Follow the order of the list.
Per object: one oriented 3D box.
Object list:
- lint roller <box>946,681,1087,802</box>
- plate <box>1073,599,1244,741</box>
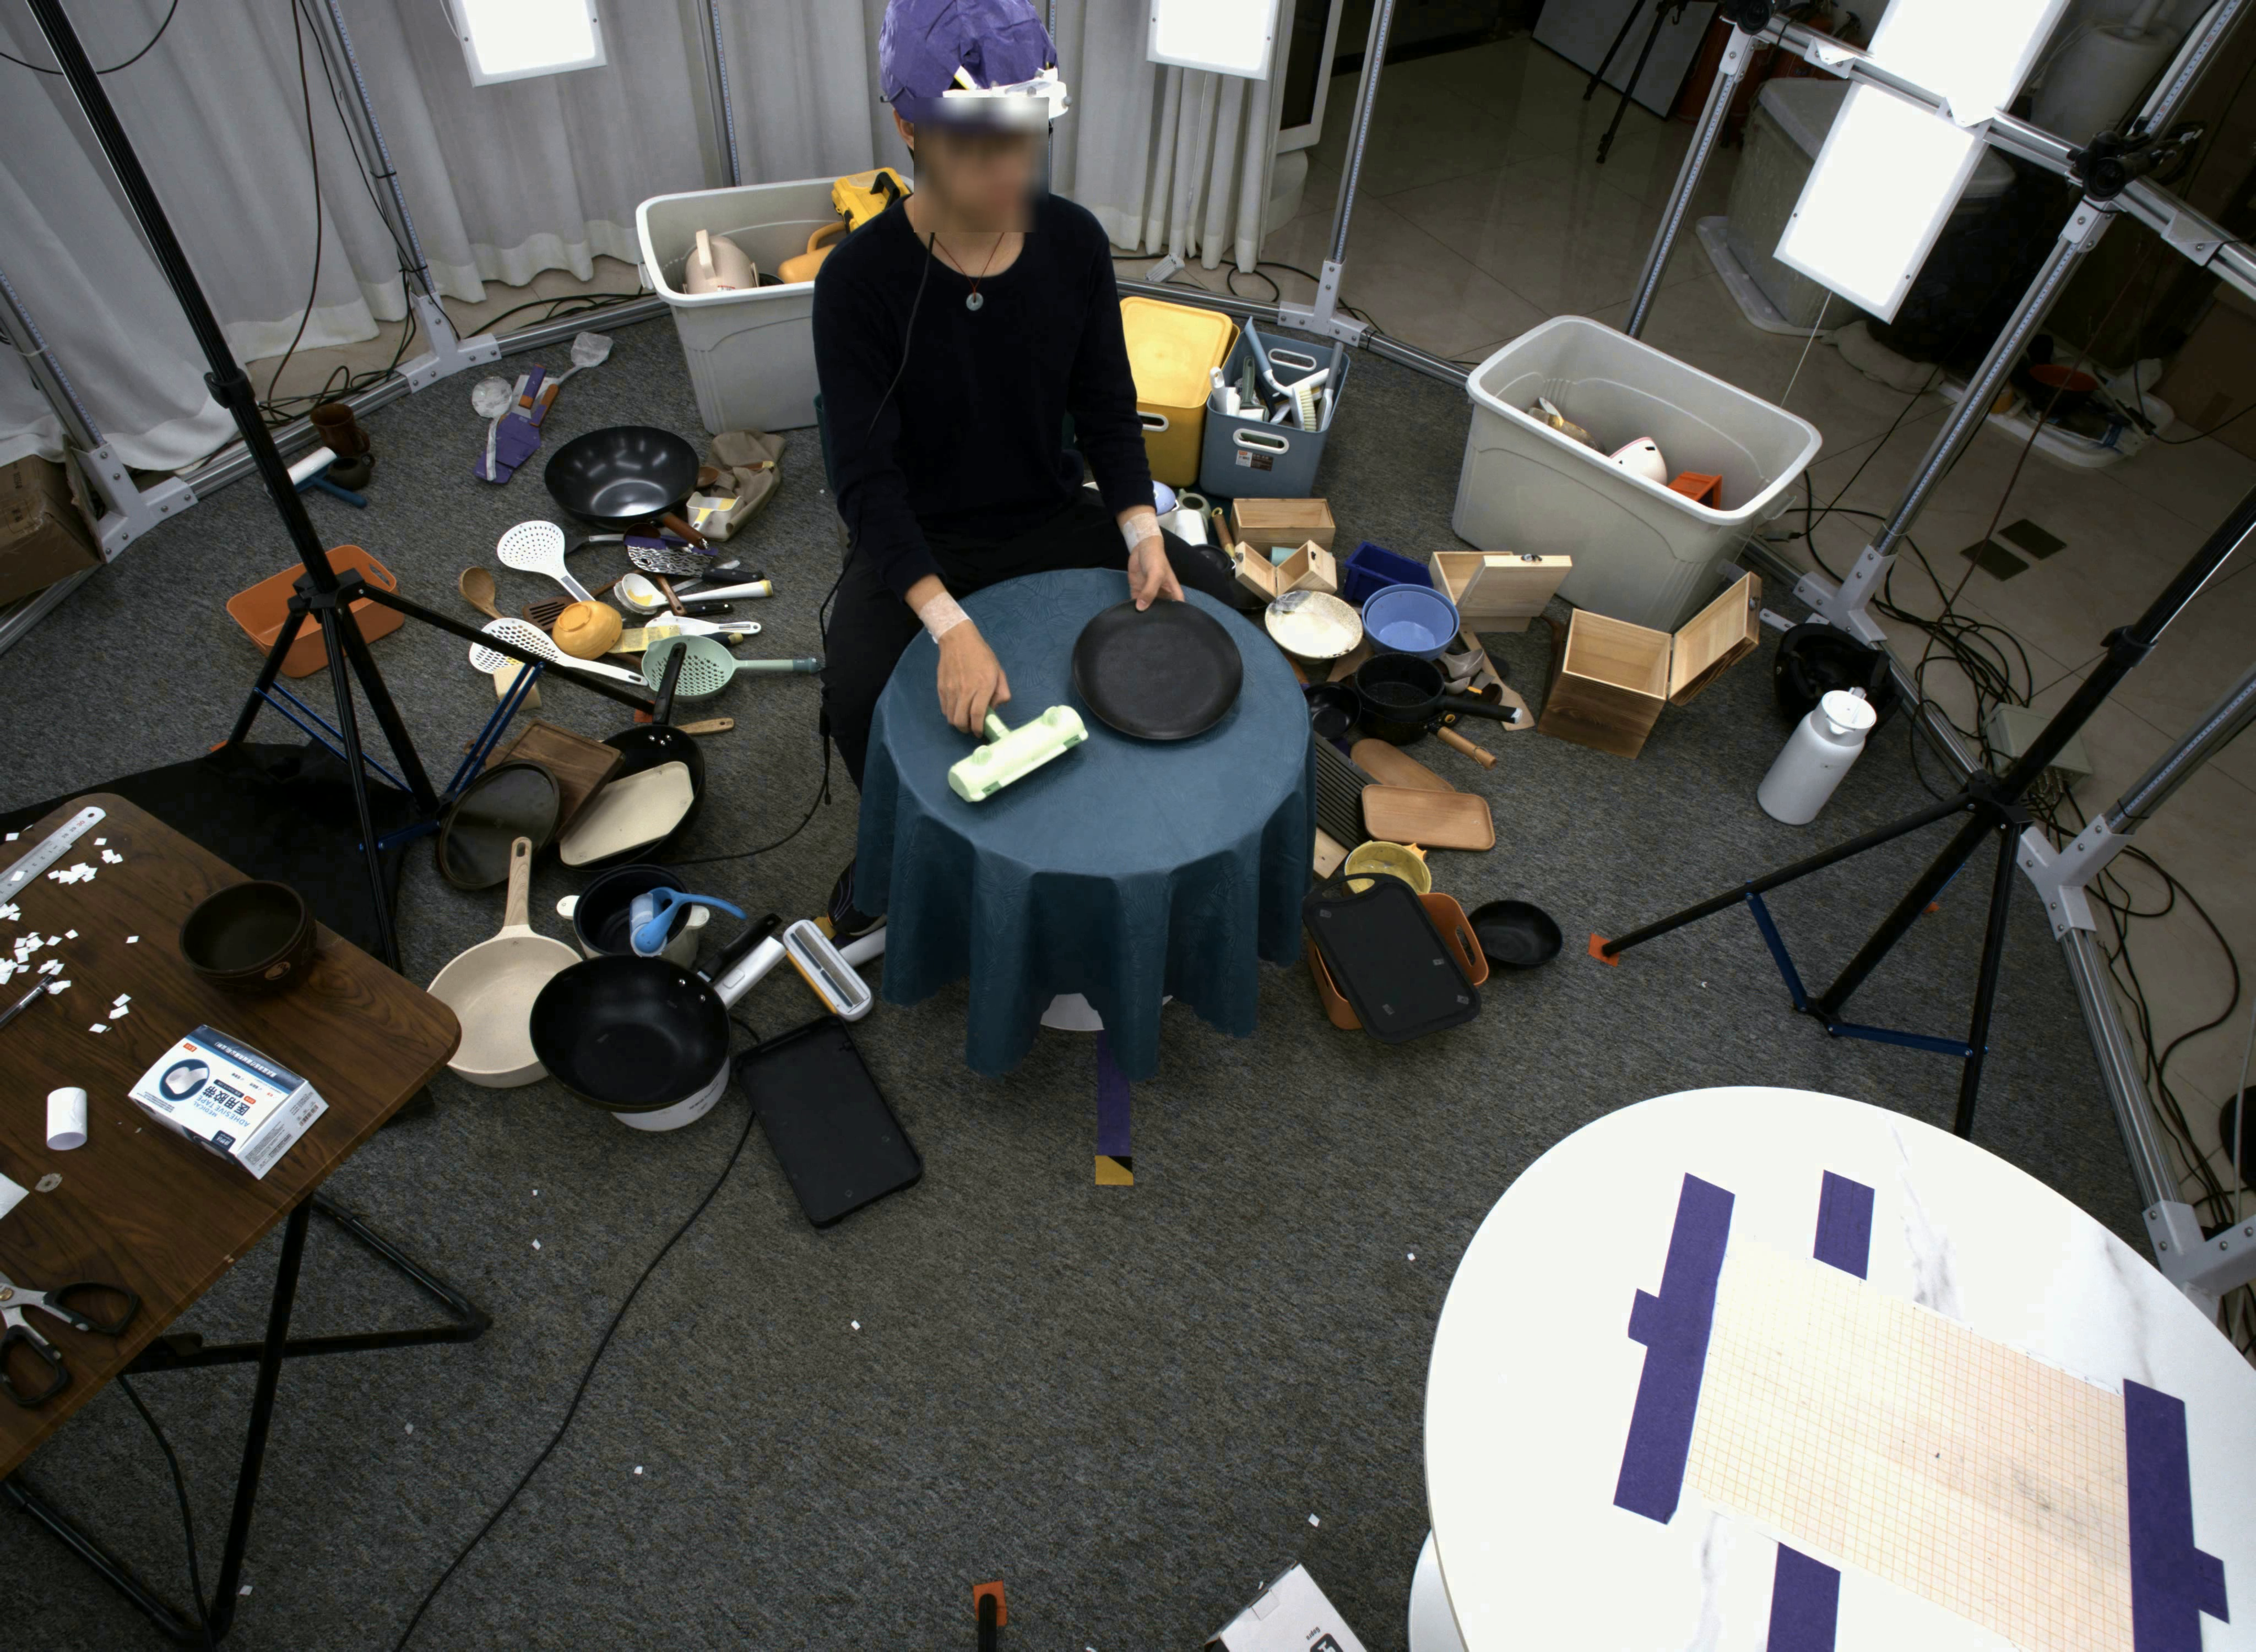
[{"bbox_3d":[-0.181,-0.143,1.716,0.200,0.080,0.185,-33,73,-28],"label":"lint roller"},{"bbox_3d":[0.043,-0.220,1.825,0.244,0.023,0.250,2,60,-3],"label":"plate"}]
